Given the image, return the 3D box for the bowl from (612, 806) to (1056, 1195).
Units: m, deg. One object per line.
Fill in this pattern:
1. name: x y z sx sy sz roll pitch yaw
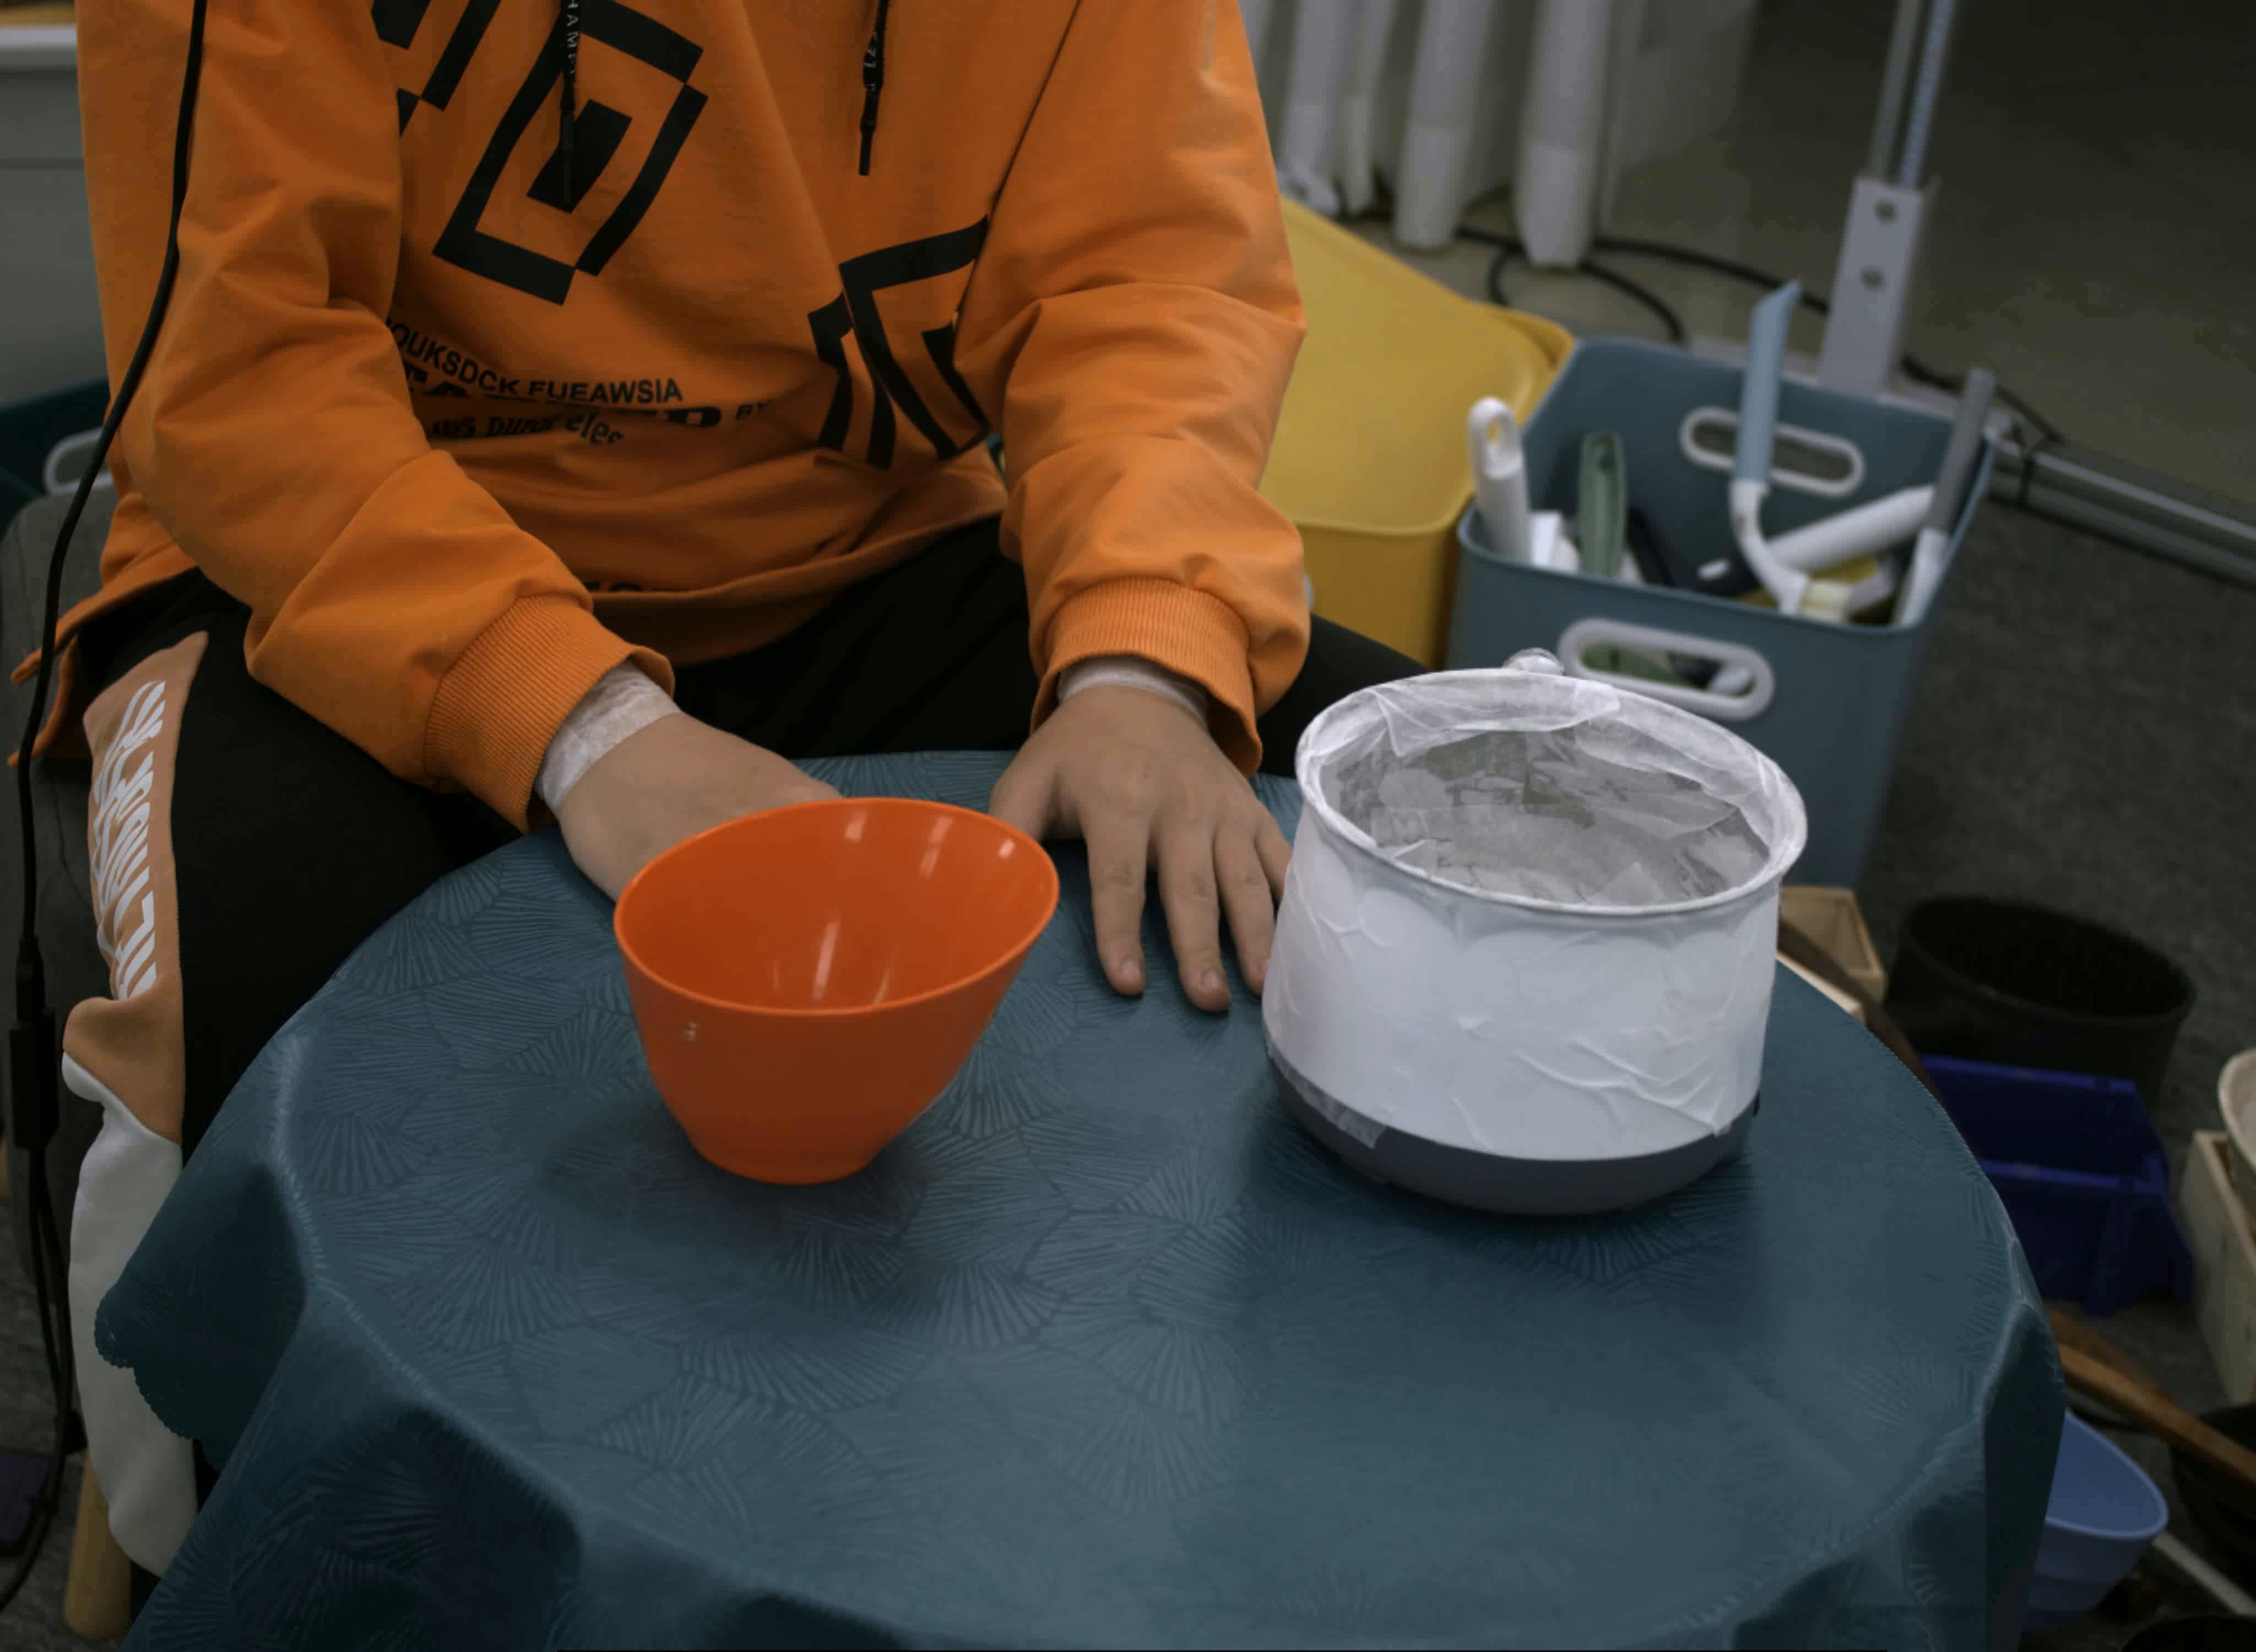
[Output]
1. bowl: -0.101 0.064 1.791 0.147 0.104 0.149 4 27 -2

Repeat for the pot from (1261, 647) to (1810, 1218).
1. pot: 0.137 0.030 1.867 0.178 0.136 0.235 6 27 -3
